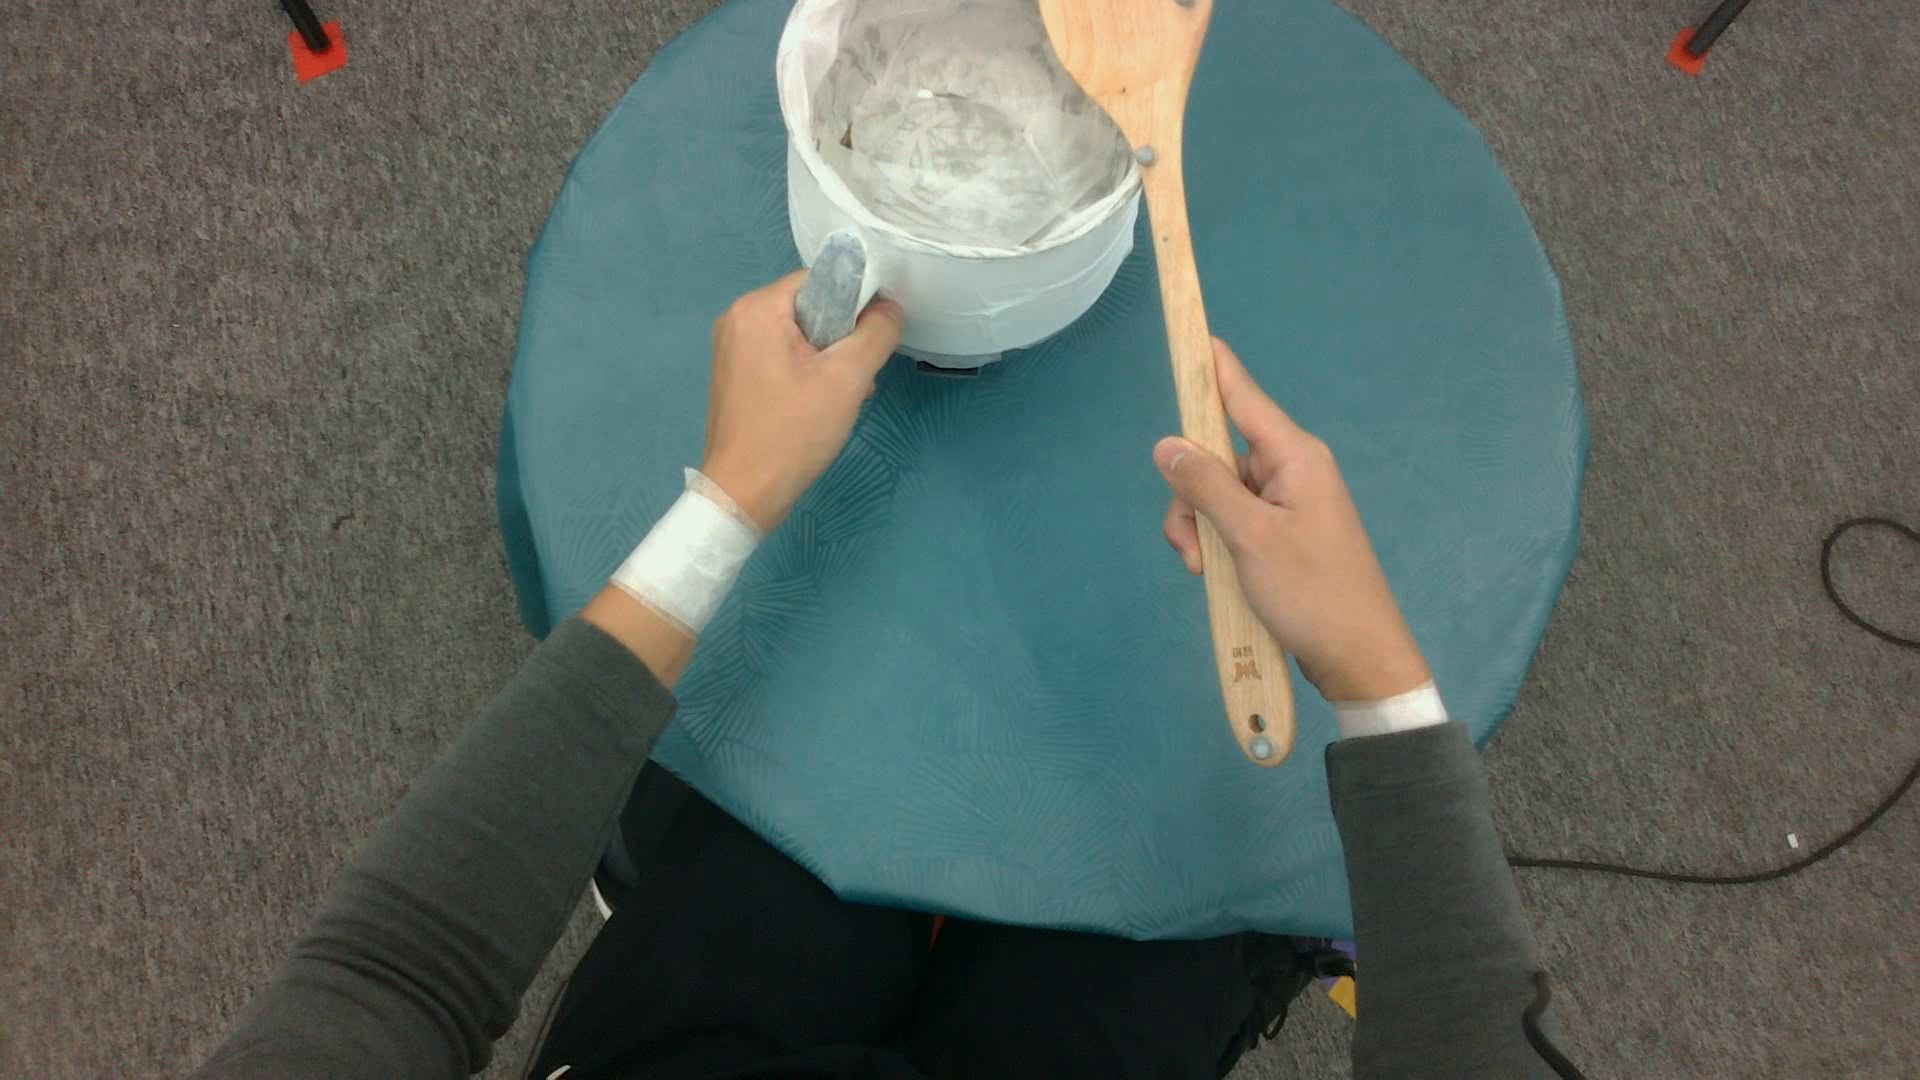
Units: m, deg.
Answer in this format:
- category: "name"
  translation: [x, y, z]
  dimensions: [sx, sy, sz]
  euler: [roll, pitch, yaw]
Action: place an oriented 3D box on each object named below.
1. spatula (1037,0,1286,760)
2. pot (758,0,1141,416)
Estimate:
- category: "spatula"
  translation: [0.097, -0.102, 0.586]
  dimensions: [0.018, 0.095, 0.391]
  euler: [-1, 80, -51]
- category: "pot"
  translation: [-0.020, -0.169, 0.669]
  dimensions: [0.179, 0.136, 0.234]
  euler: [31, 73, 6]
